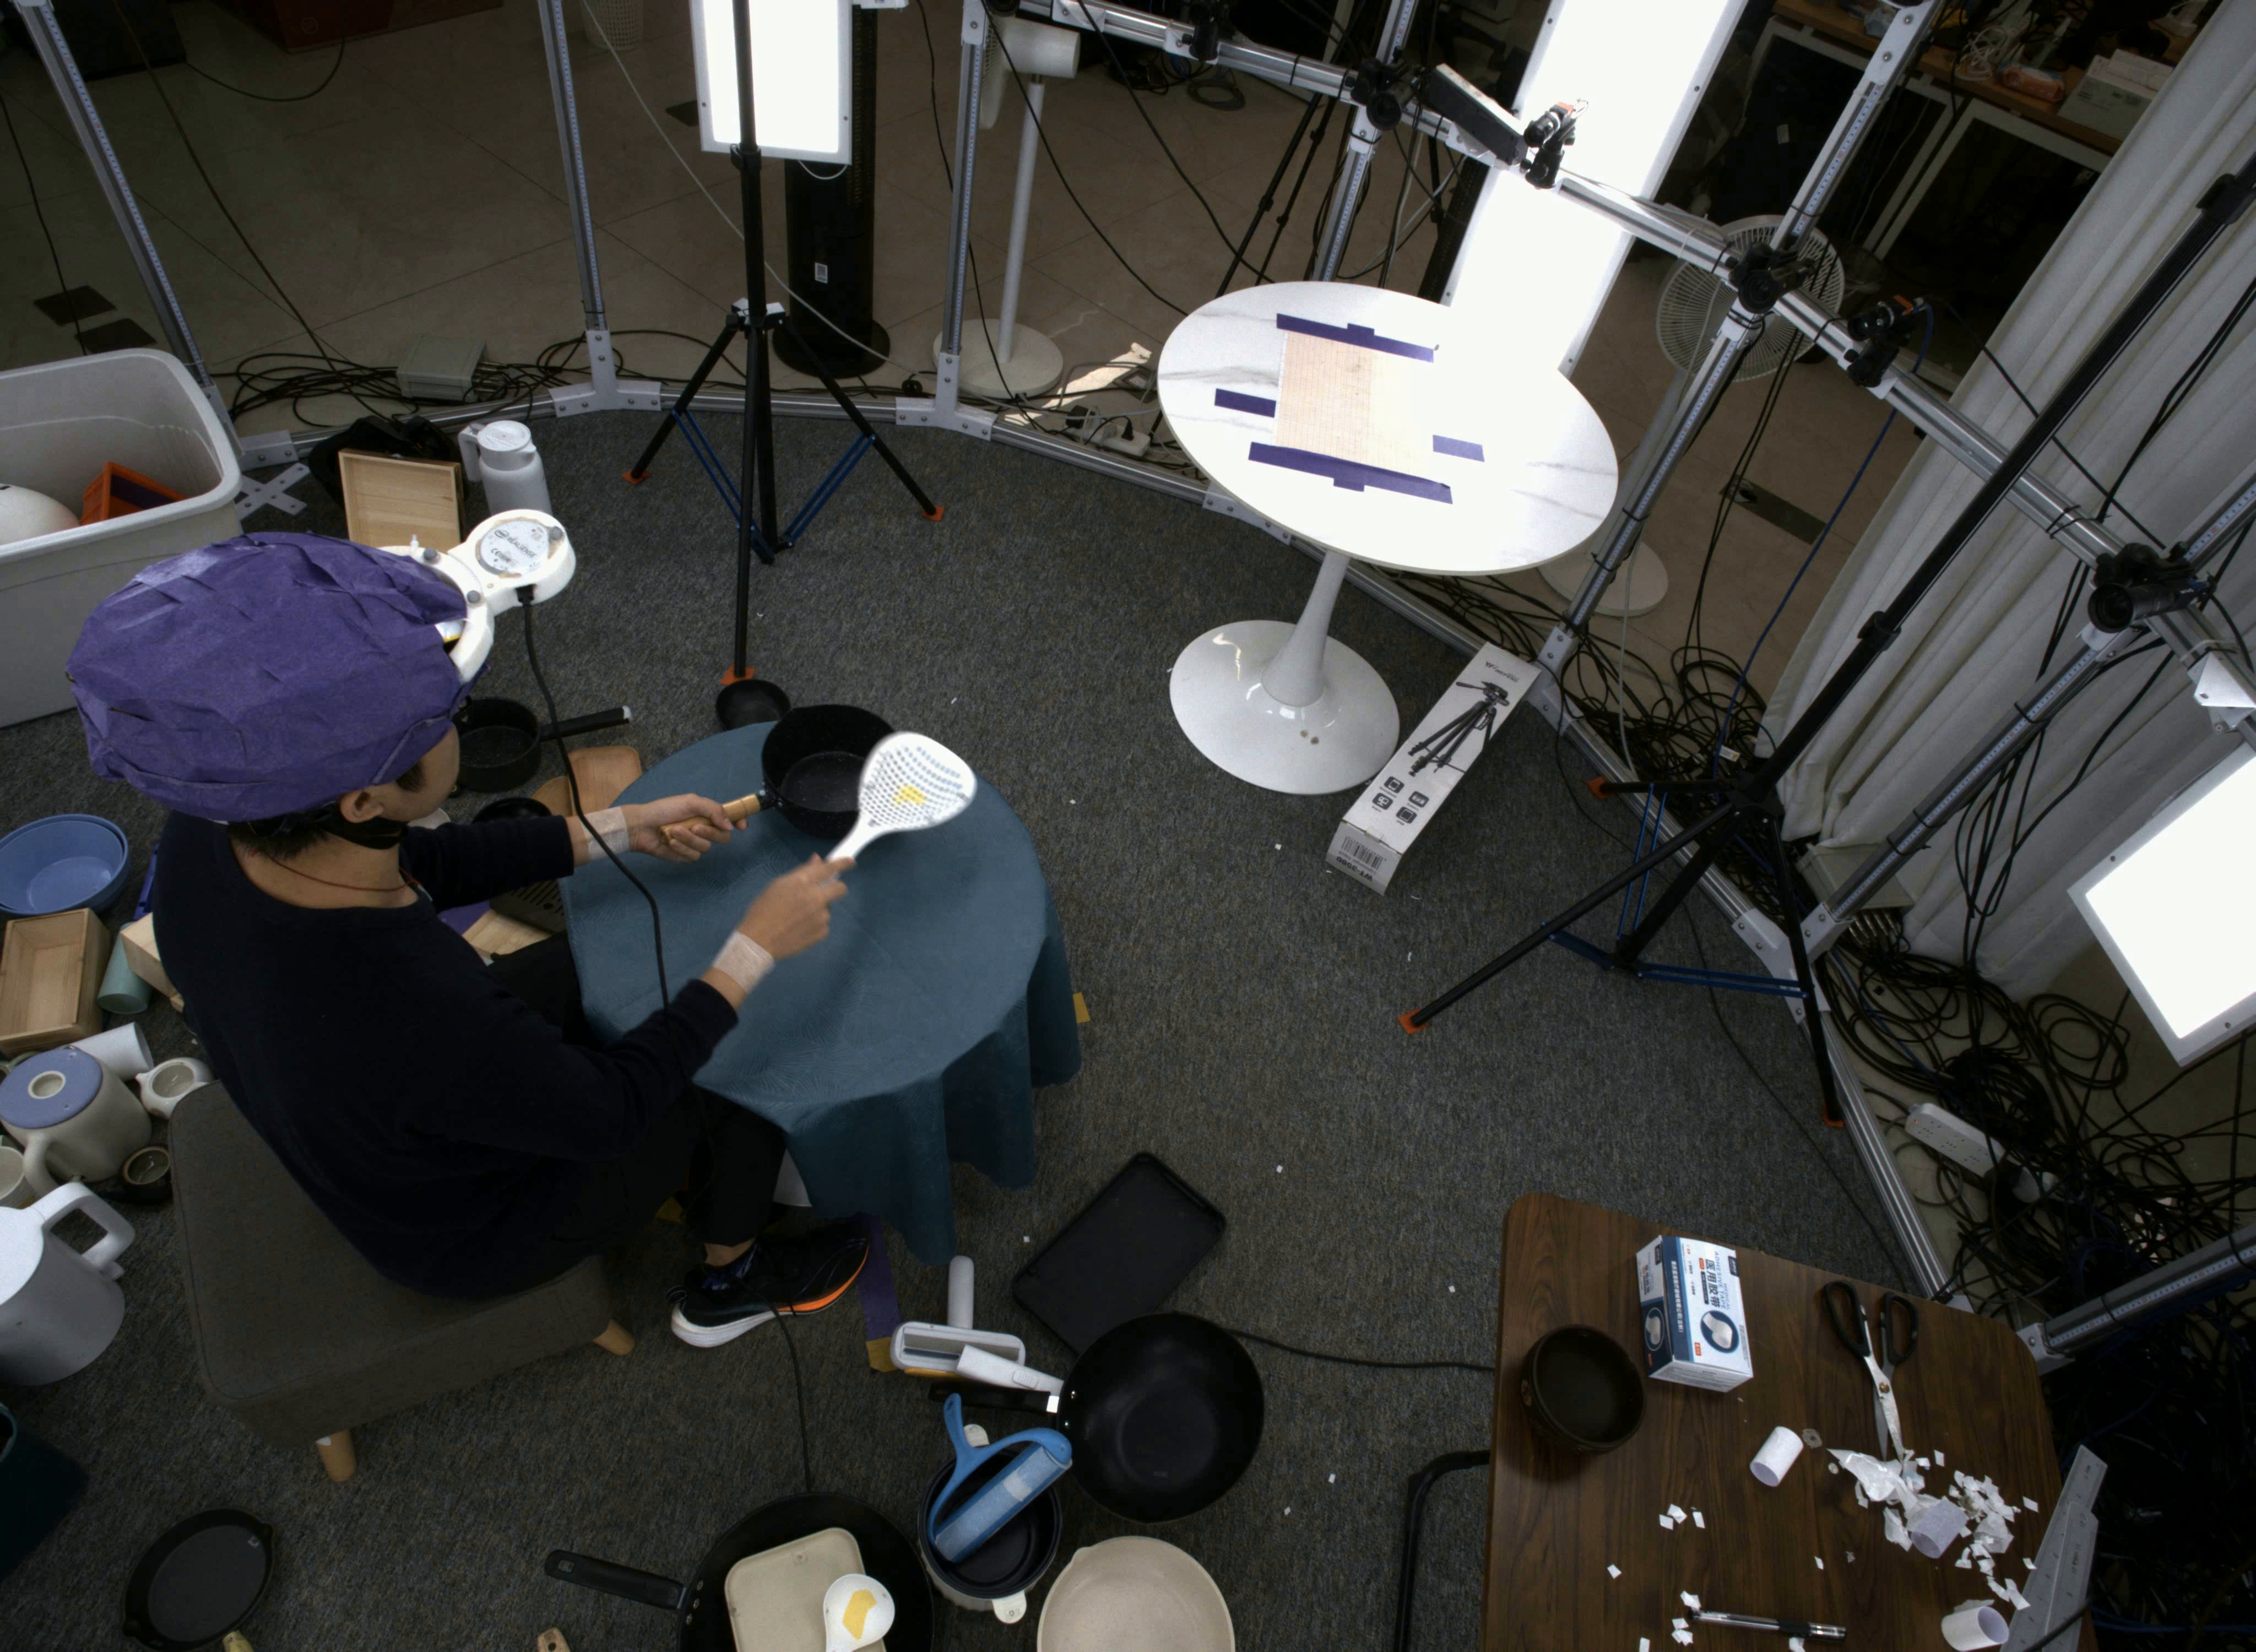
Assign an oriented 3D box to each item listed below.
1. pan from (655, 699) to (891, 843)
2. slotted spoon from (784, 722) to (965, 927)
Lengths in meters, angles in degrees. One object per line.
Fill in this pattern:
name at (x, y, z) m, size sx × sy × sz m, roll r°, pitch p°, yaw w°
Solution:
pan at (-0.448, -0.039, 1.667) m, size 0.344 × 0.110 × 0.203 m, roll -33°, pitch 68°, yaw -33°
slotted spoon at (-0.321, -0.004, 1.578) m, size 0.137 × 0.051 × 0.345 m, roll 35°, pitch 41°, yaw -2°
